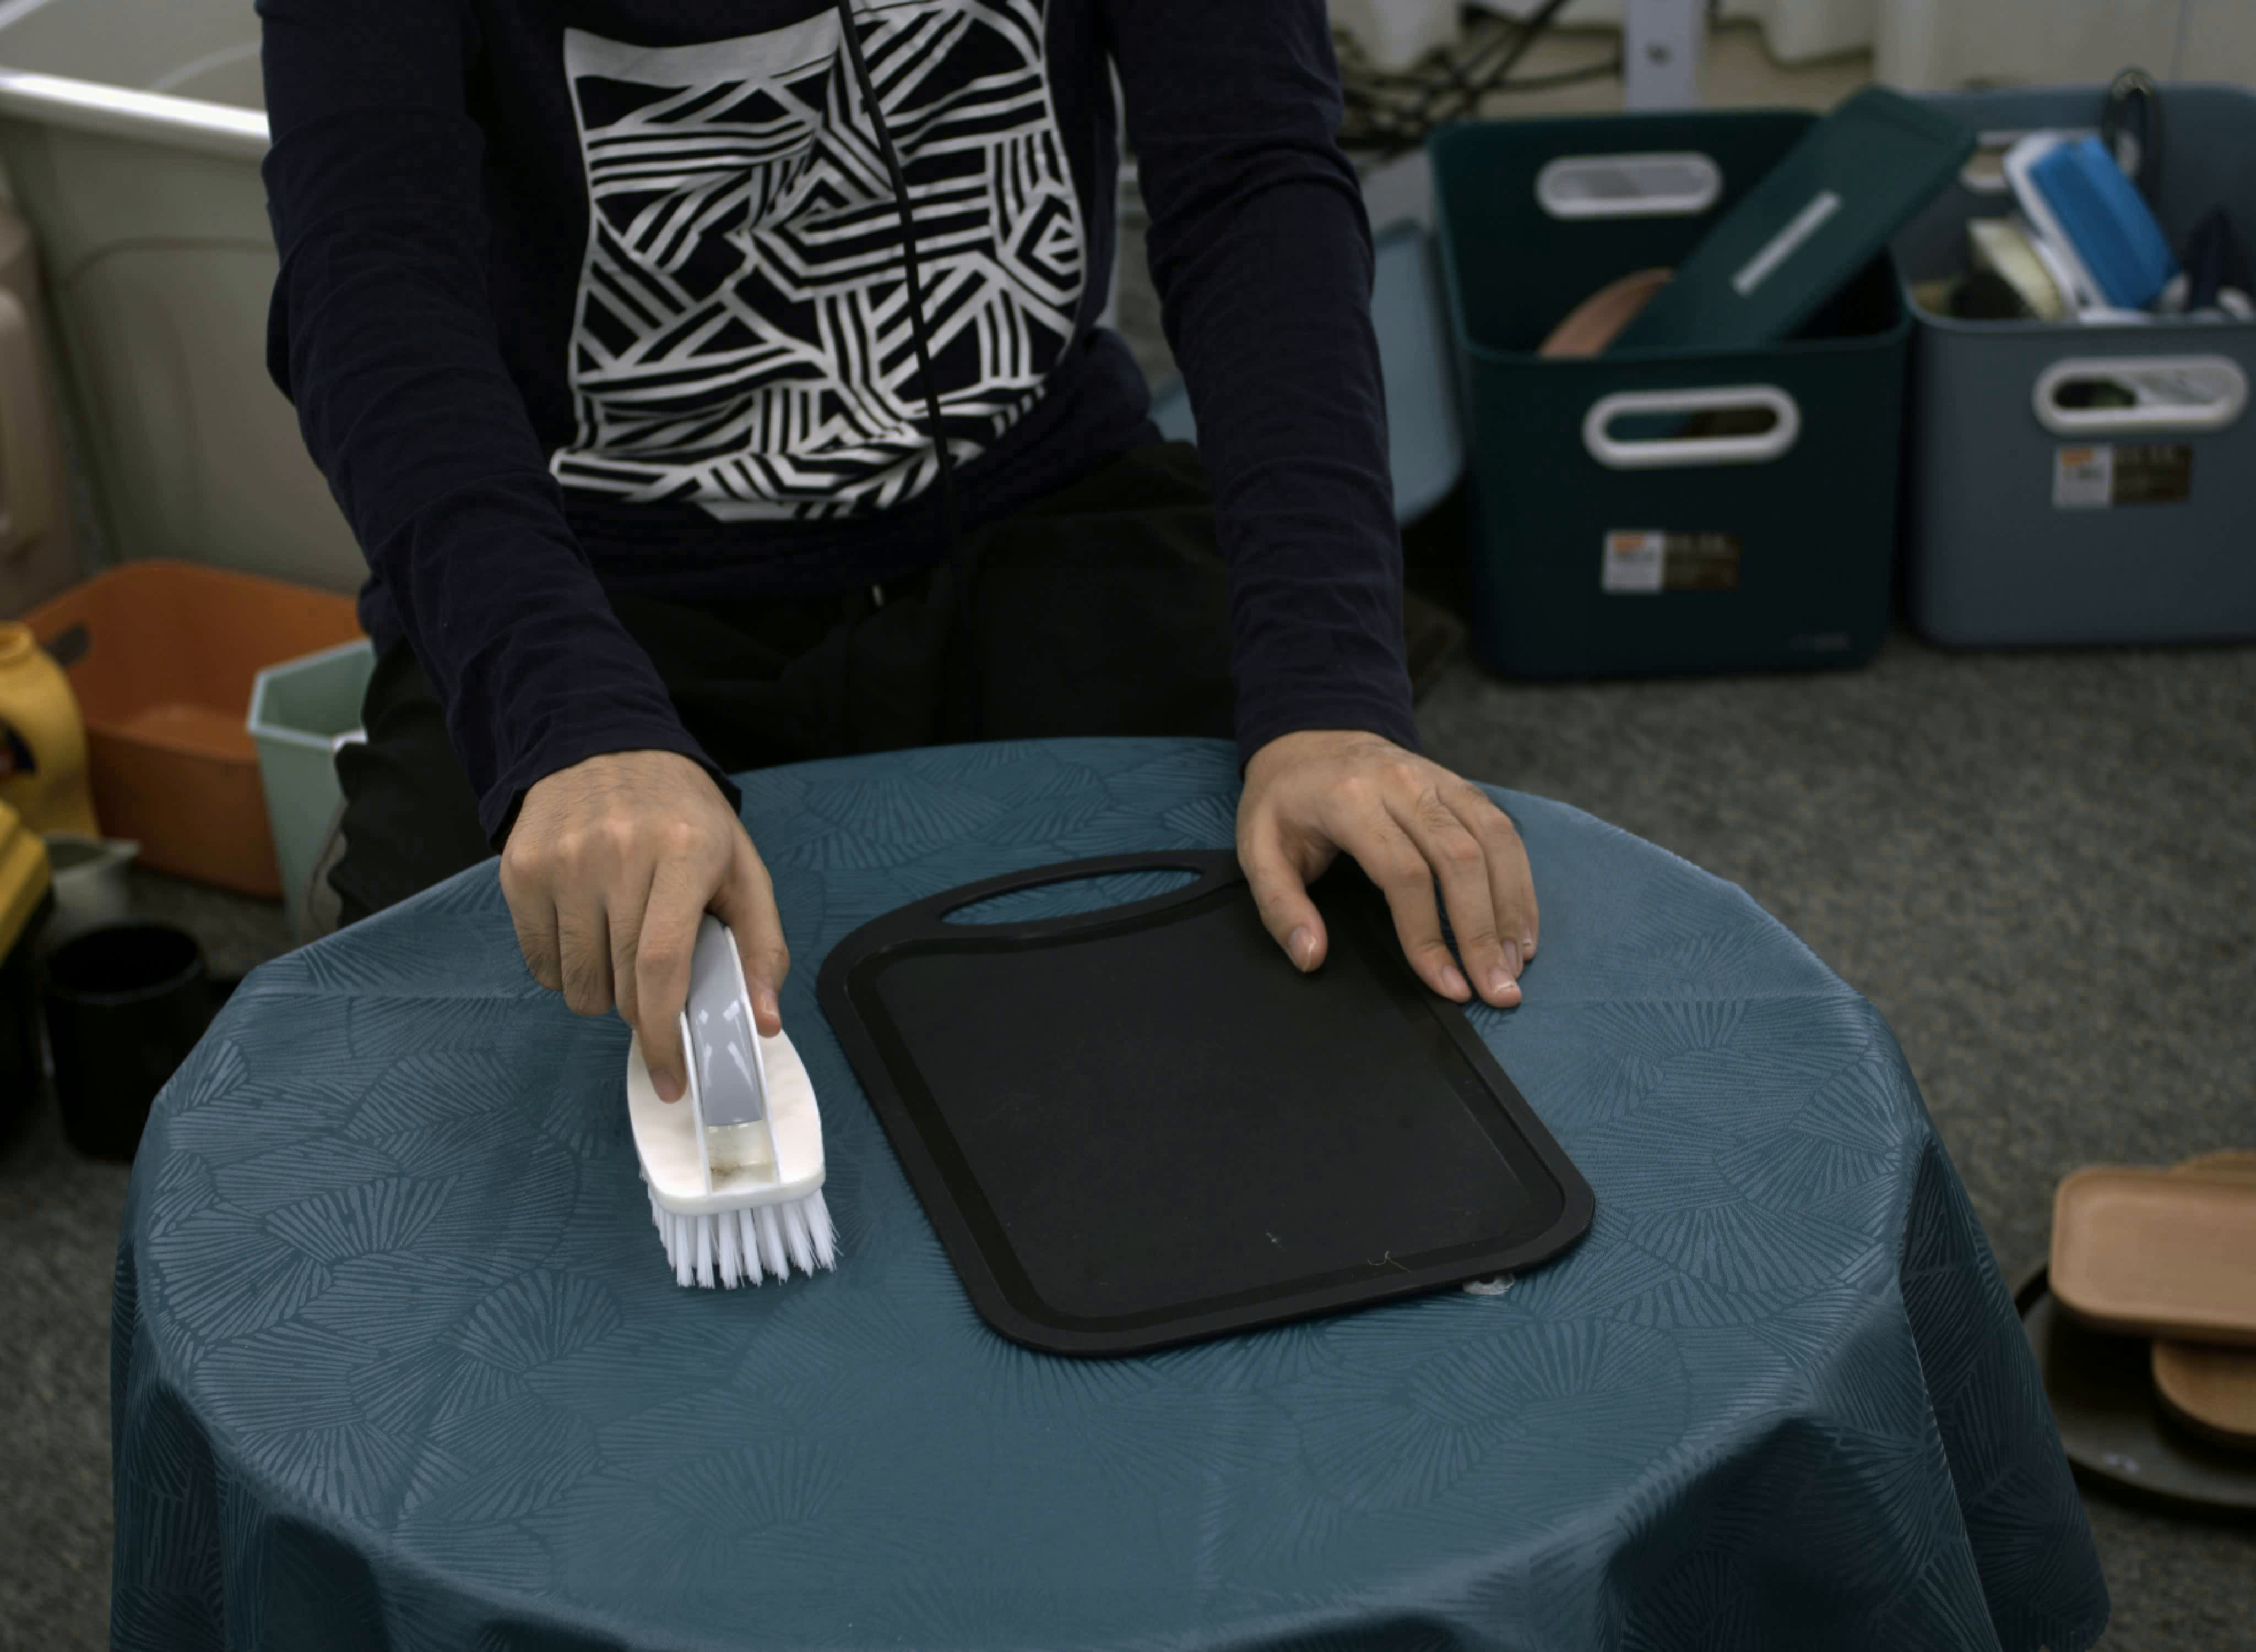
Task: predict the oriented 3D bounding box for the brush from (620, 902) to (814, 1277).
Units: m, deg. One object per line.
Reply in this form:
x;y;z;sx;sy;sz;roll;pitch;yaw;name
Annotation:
-0.141;0.072;1.870;0.061;0.093;0.177;-6;25;-8;brush

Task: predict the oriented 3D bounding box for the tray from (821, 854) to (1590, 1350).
0.017;0.085;1.921;0.211;0.009;0.328;-9;27;-13;tray
